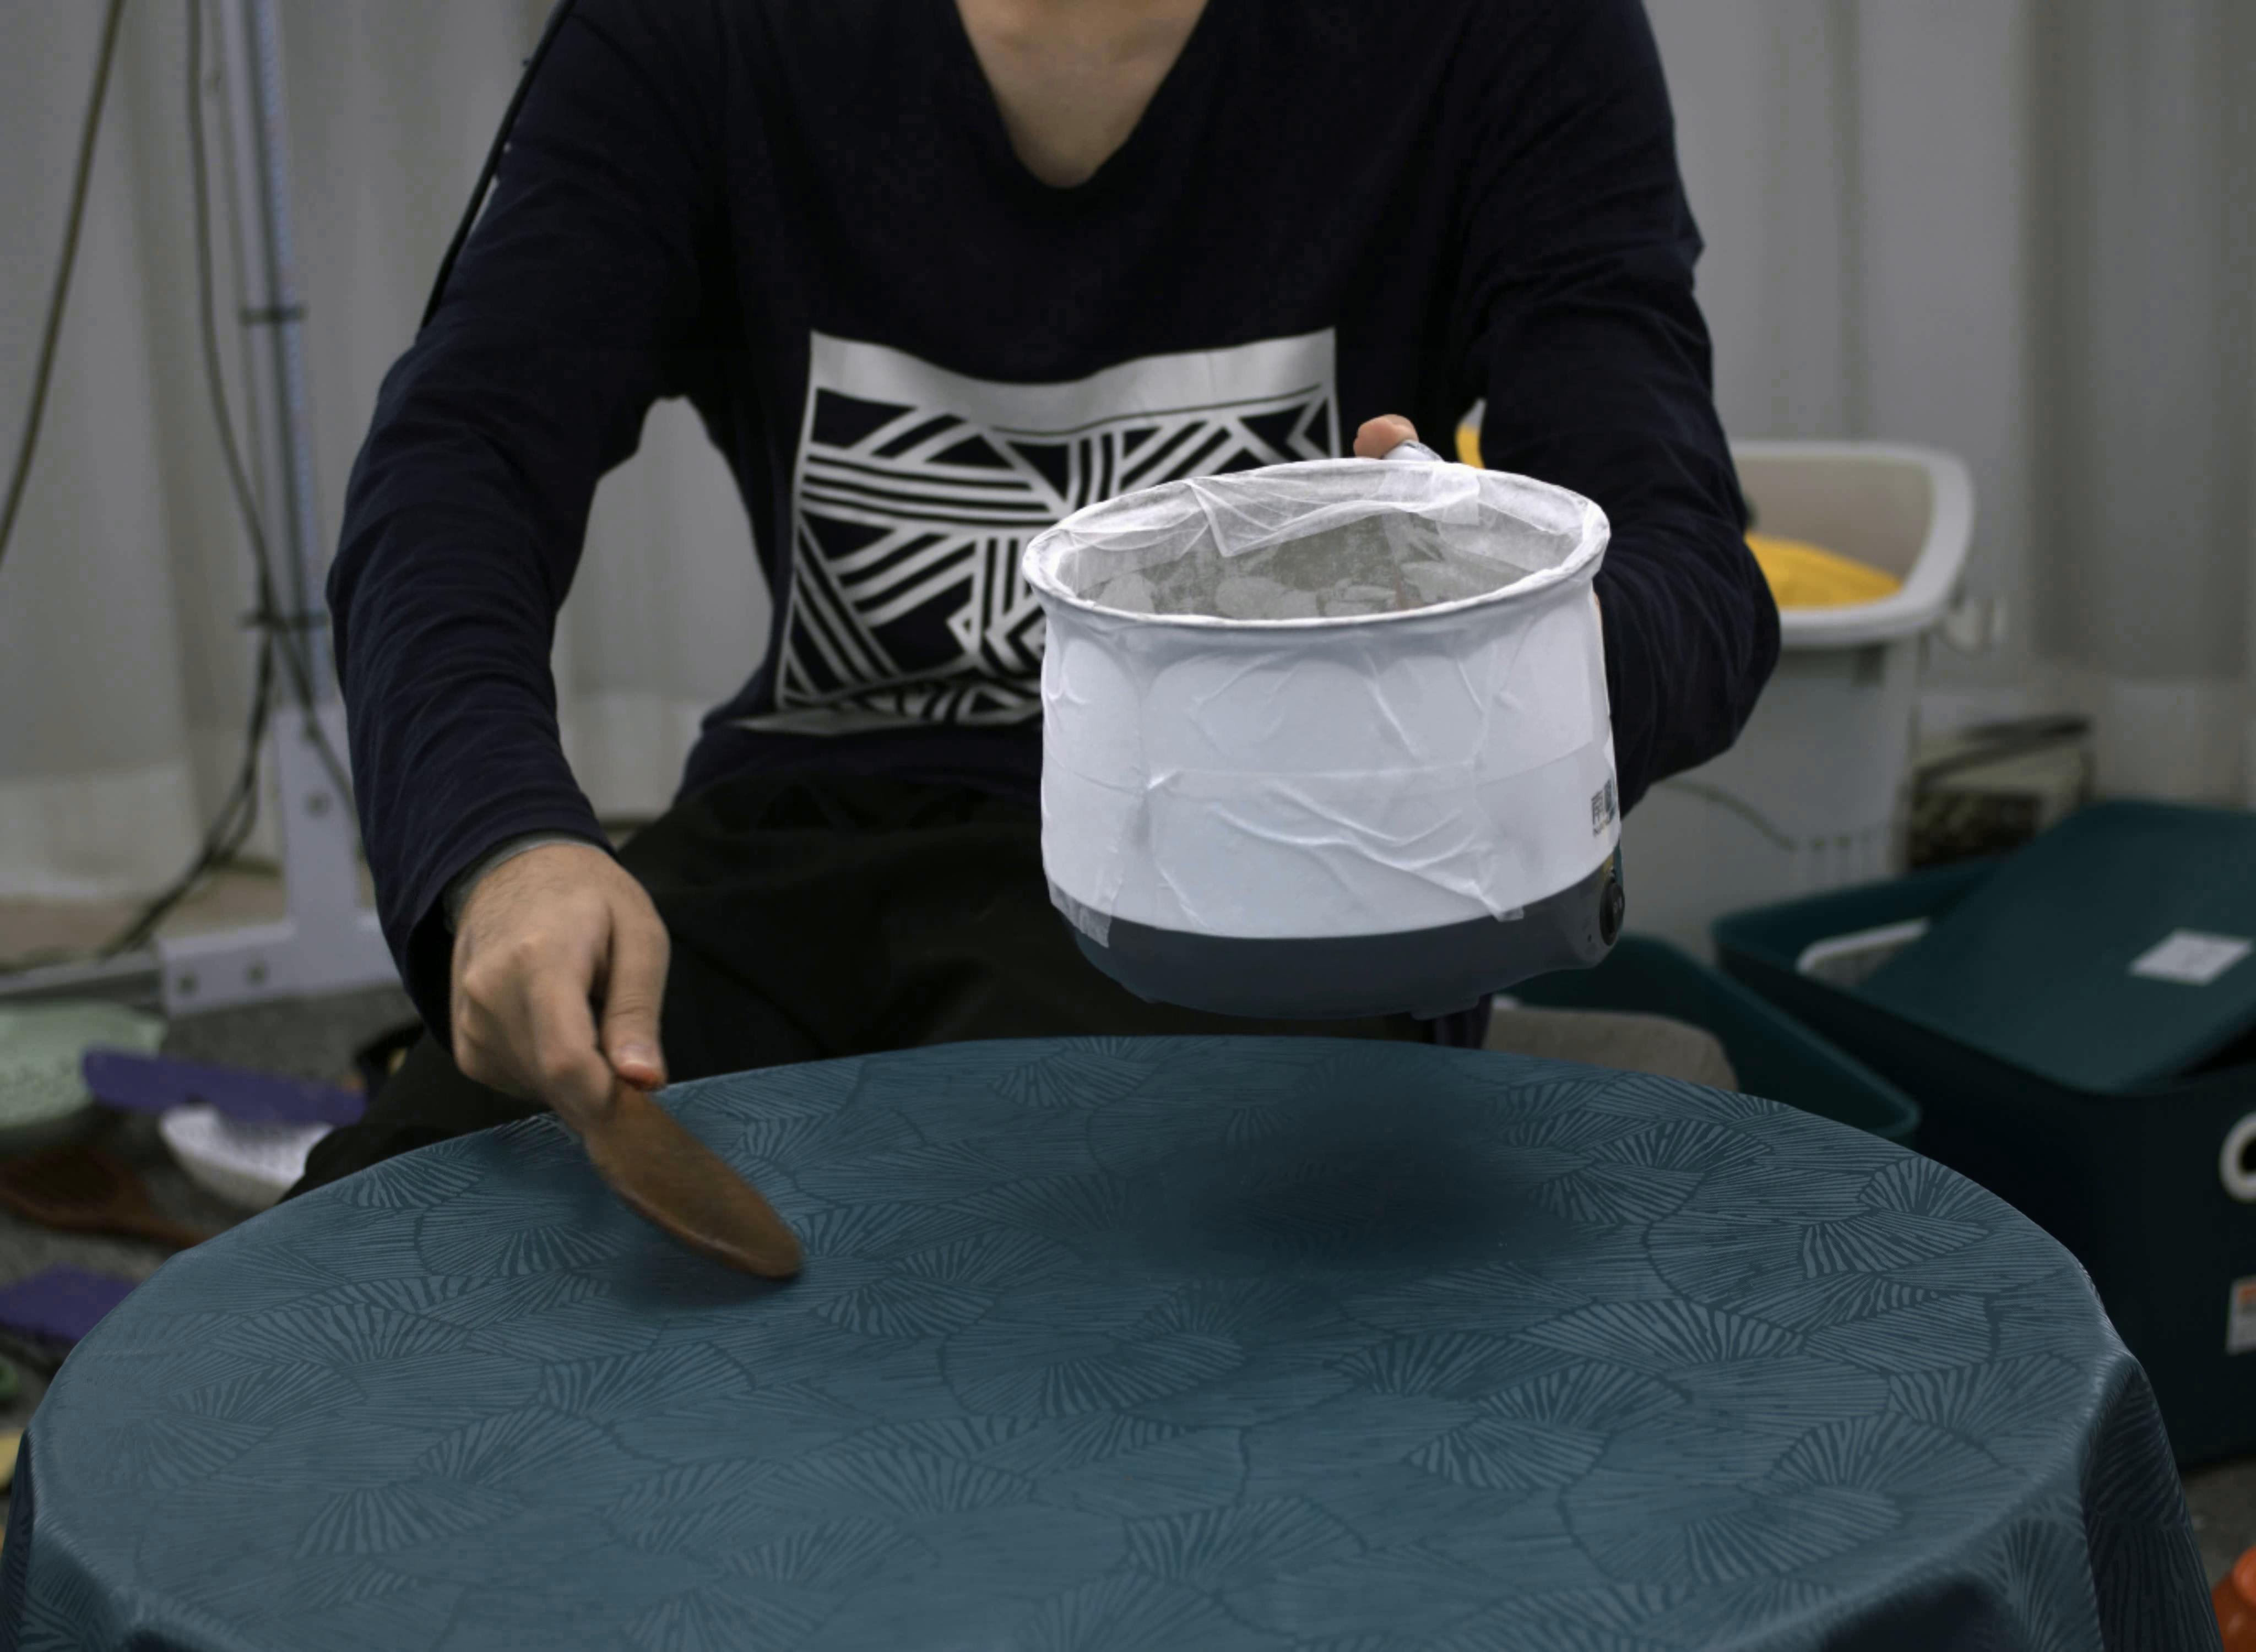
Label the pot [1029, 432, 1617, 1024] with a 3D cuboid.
[{"bbox_3d":[0.068,-0.036,1.690,0.179,0.136,0.235,4,21,17],"label":"pot"}]

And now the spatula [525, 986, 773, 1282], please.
[{"bbox_3d":[-0.159,0.093,1.719,0.071,0.009,0.218,32,7,-25],"label":"spatula"}]
